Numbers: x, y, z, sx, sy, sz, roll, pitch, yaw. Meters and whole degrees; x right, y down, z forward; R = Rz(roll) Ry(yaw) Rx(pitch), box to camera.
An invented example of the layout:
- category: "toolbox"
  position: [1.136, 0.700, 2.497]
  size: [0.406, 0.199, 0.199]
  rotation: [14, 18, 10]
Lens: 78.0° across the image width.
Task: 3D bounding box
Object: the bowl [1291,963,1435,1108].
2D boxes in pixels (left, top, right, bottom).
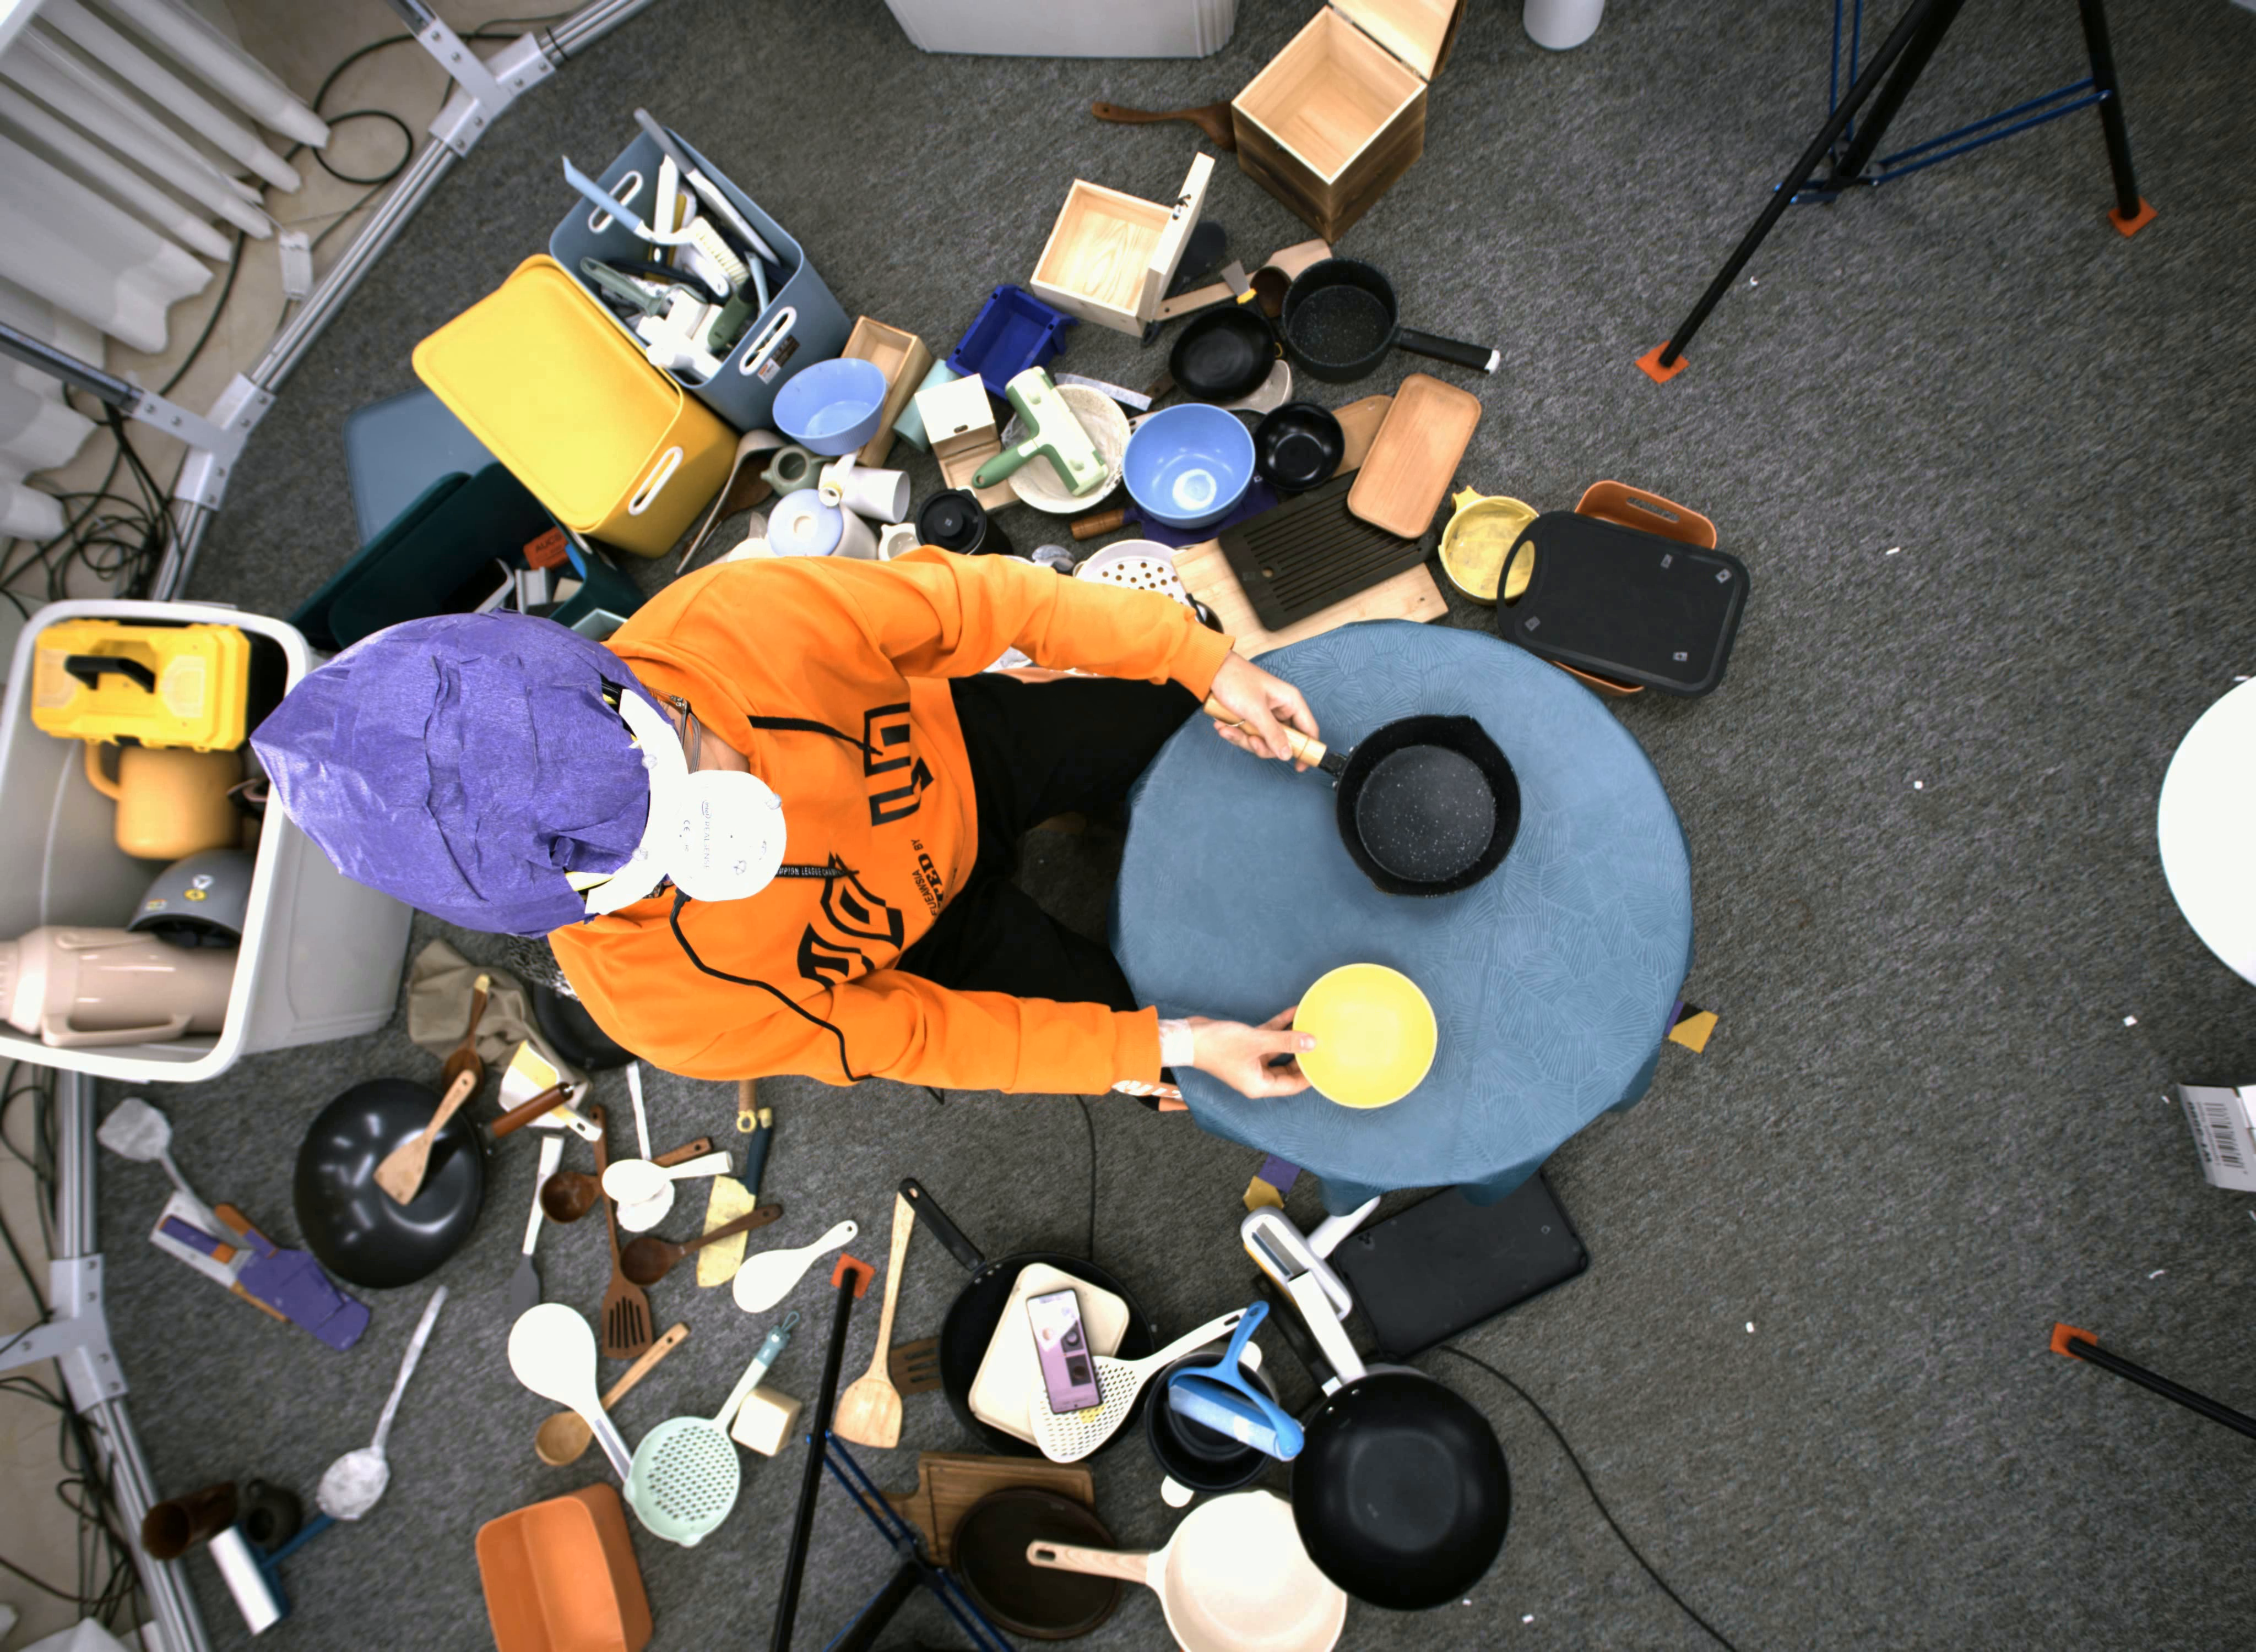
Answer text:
- category: "bowl"
  position: [0.241, 0.214, 1.426]
  size: [0.146, 0.060, 0.144]
  rotation: [-1, 84, 9]

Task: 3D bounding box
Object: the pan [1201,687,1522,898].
- category: "pan"
  position: [0.233, -0.053, 1.416]
  size: [0.342, 0.108, 0.208]
  rotation: [25, 93, 10]
